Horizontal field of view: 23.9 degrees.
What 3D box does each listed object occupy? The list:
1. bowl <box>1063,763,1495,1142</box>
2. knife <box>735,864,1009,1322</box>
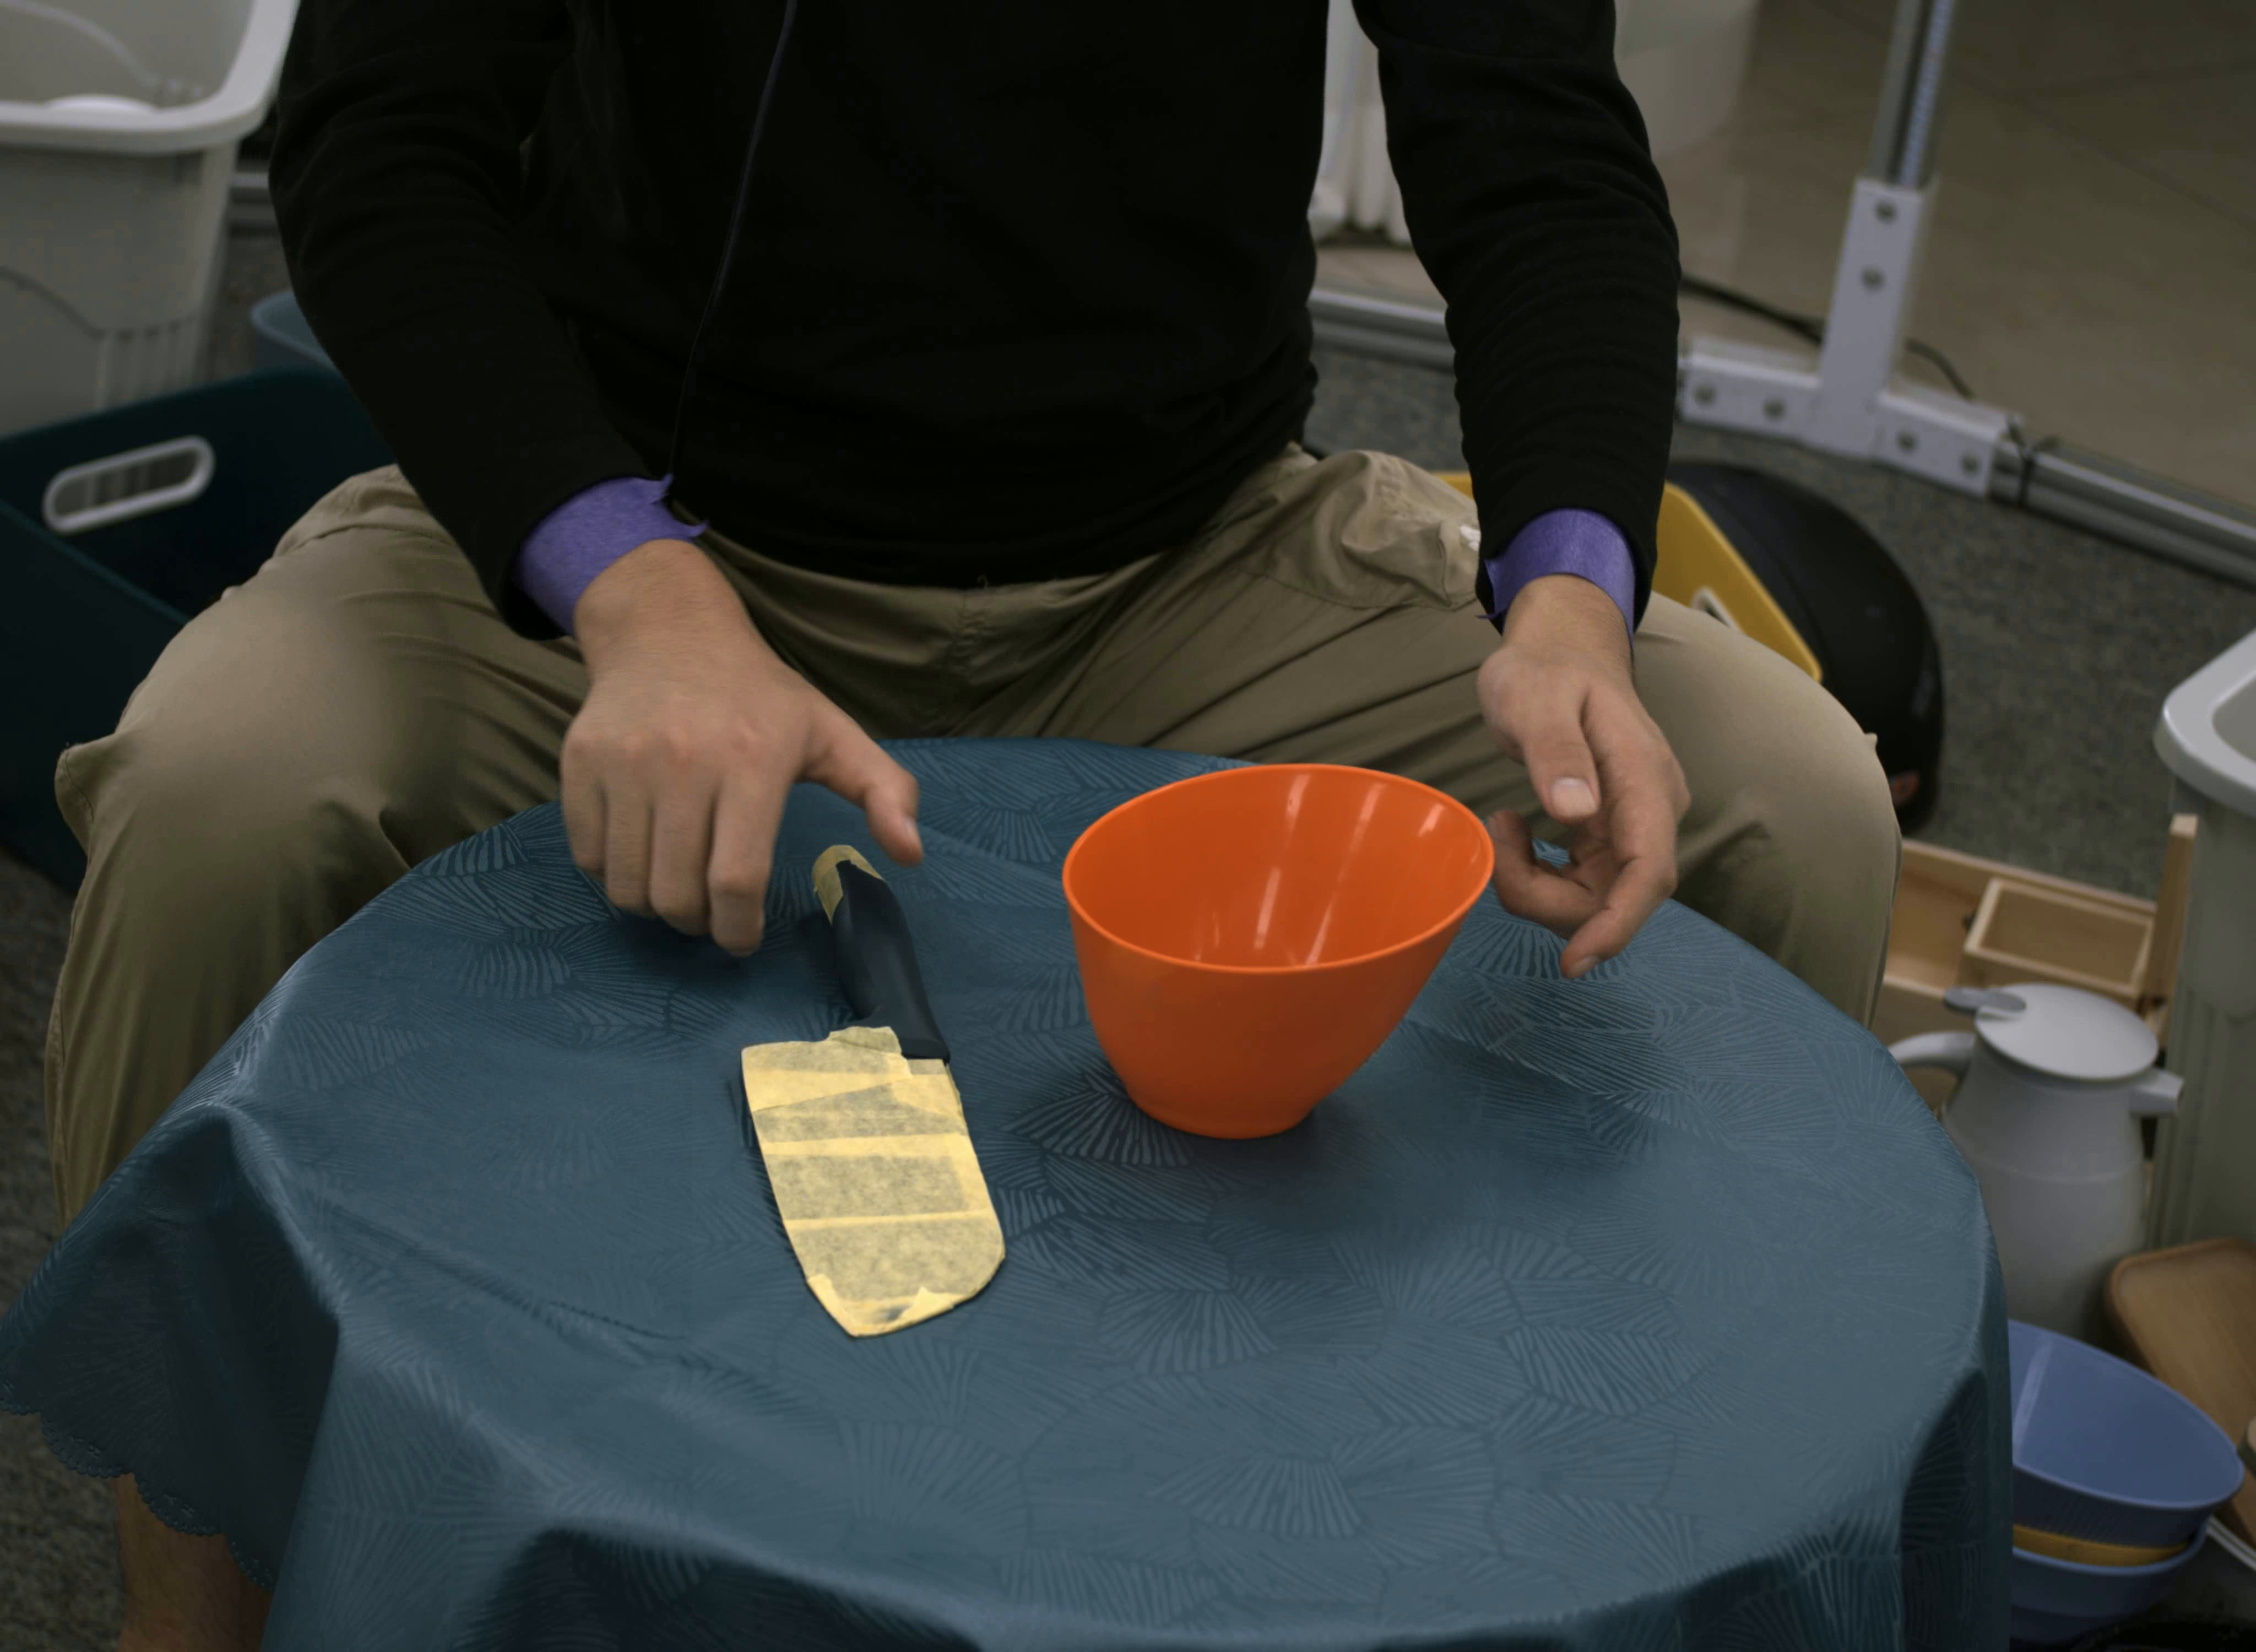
[{"bbox_3d":[0.048,0.050,1.849,0.147,0.104,0.149,4,28,-3],"label":"bowl"},{"bbox_3d":[-0.094,0.090,1.835,0.080,0.027,0.292,2,28,-12],"label":"knife"}]
